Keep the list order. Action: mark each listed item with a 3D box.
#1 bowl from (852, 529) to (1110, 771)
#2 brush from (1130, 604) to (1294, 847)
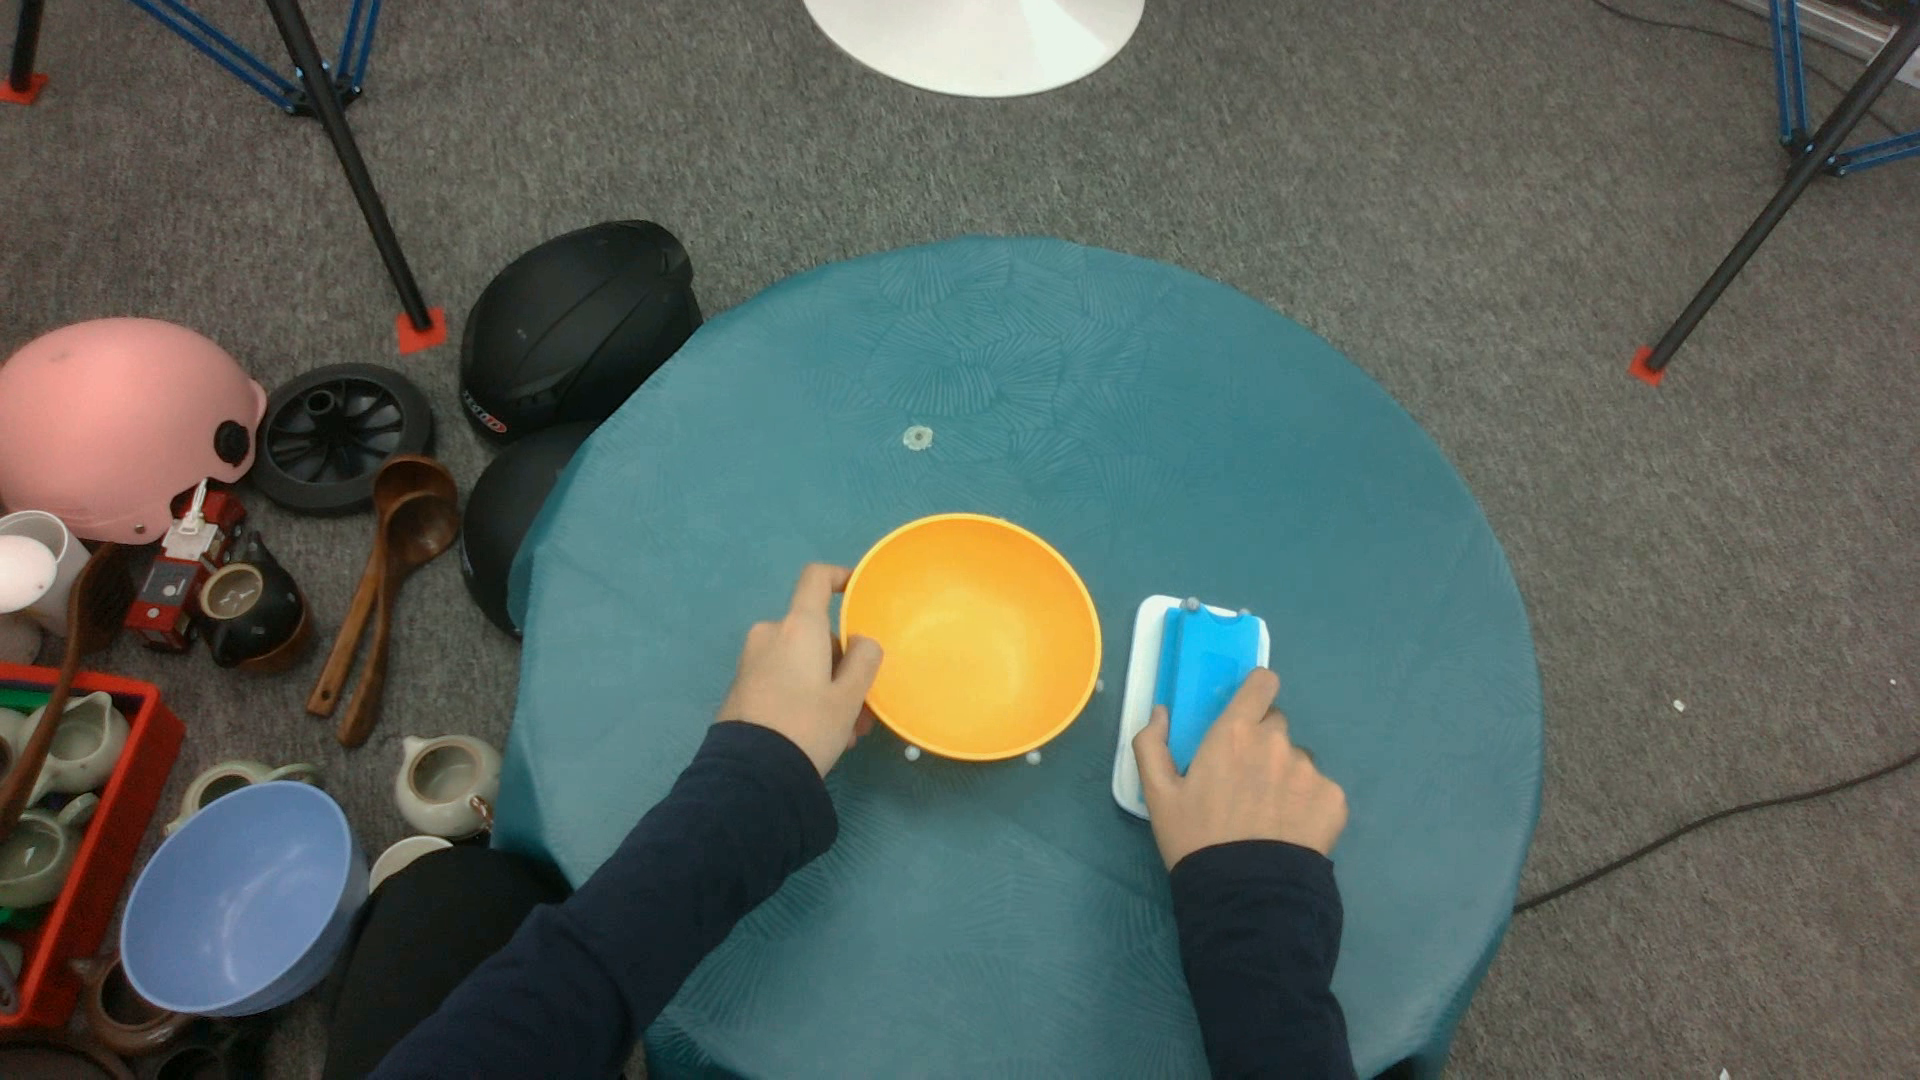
[{"bbox_3d":[0.008,0.070,0.778,0.145,0.060,0.146,5,60,-8],"label":"bowl"},{"bbox_3d":[0.145,0.096,0.771,0.084,0.055,0.144,11,57,5],"label":"brush"}]
